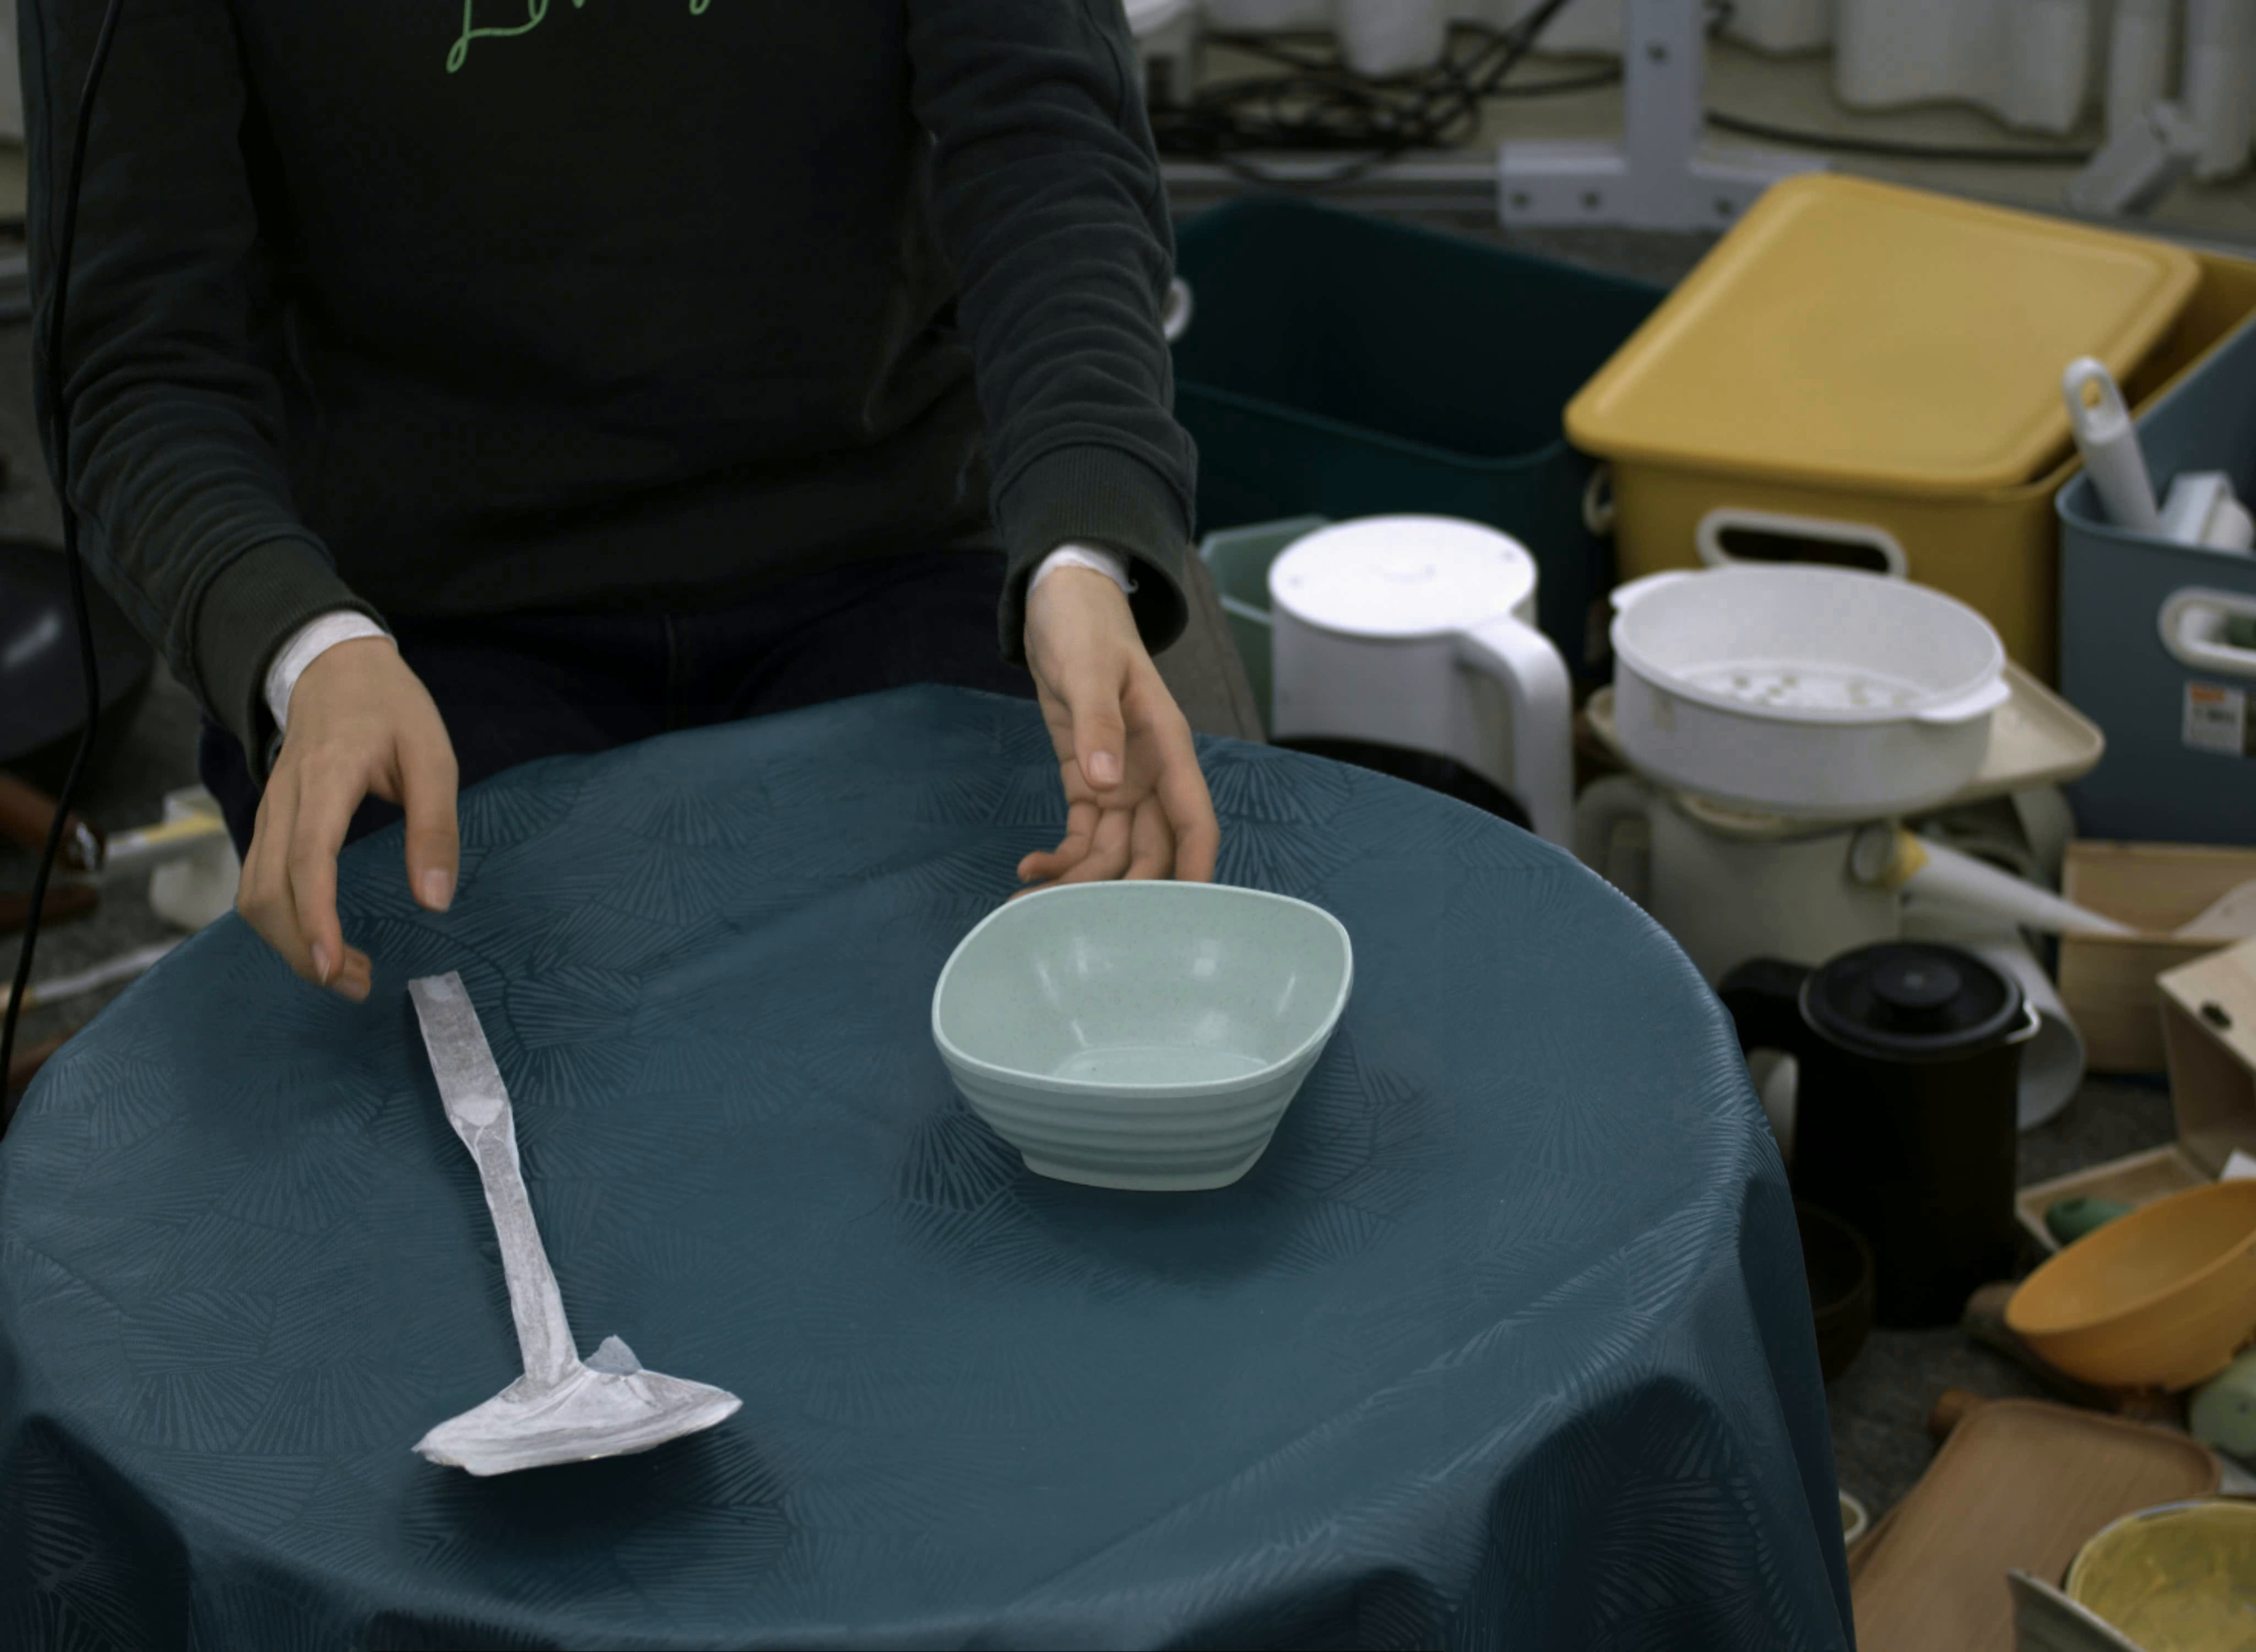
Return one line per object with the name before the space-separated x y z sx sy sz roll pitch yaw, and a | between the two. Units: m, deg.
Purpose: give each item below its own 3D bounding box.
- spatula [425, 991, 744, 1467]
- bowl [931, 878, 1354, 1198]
spatula | -0.198 0.124 1.836 0.098 0.044 0.369 -10 28 -10
bowl | 0.006 0.077 1.888 0.151 0.058 0.154 -1 29 1
